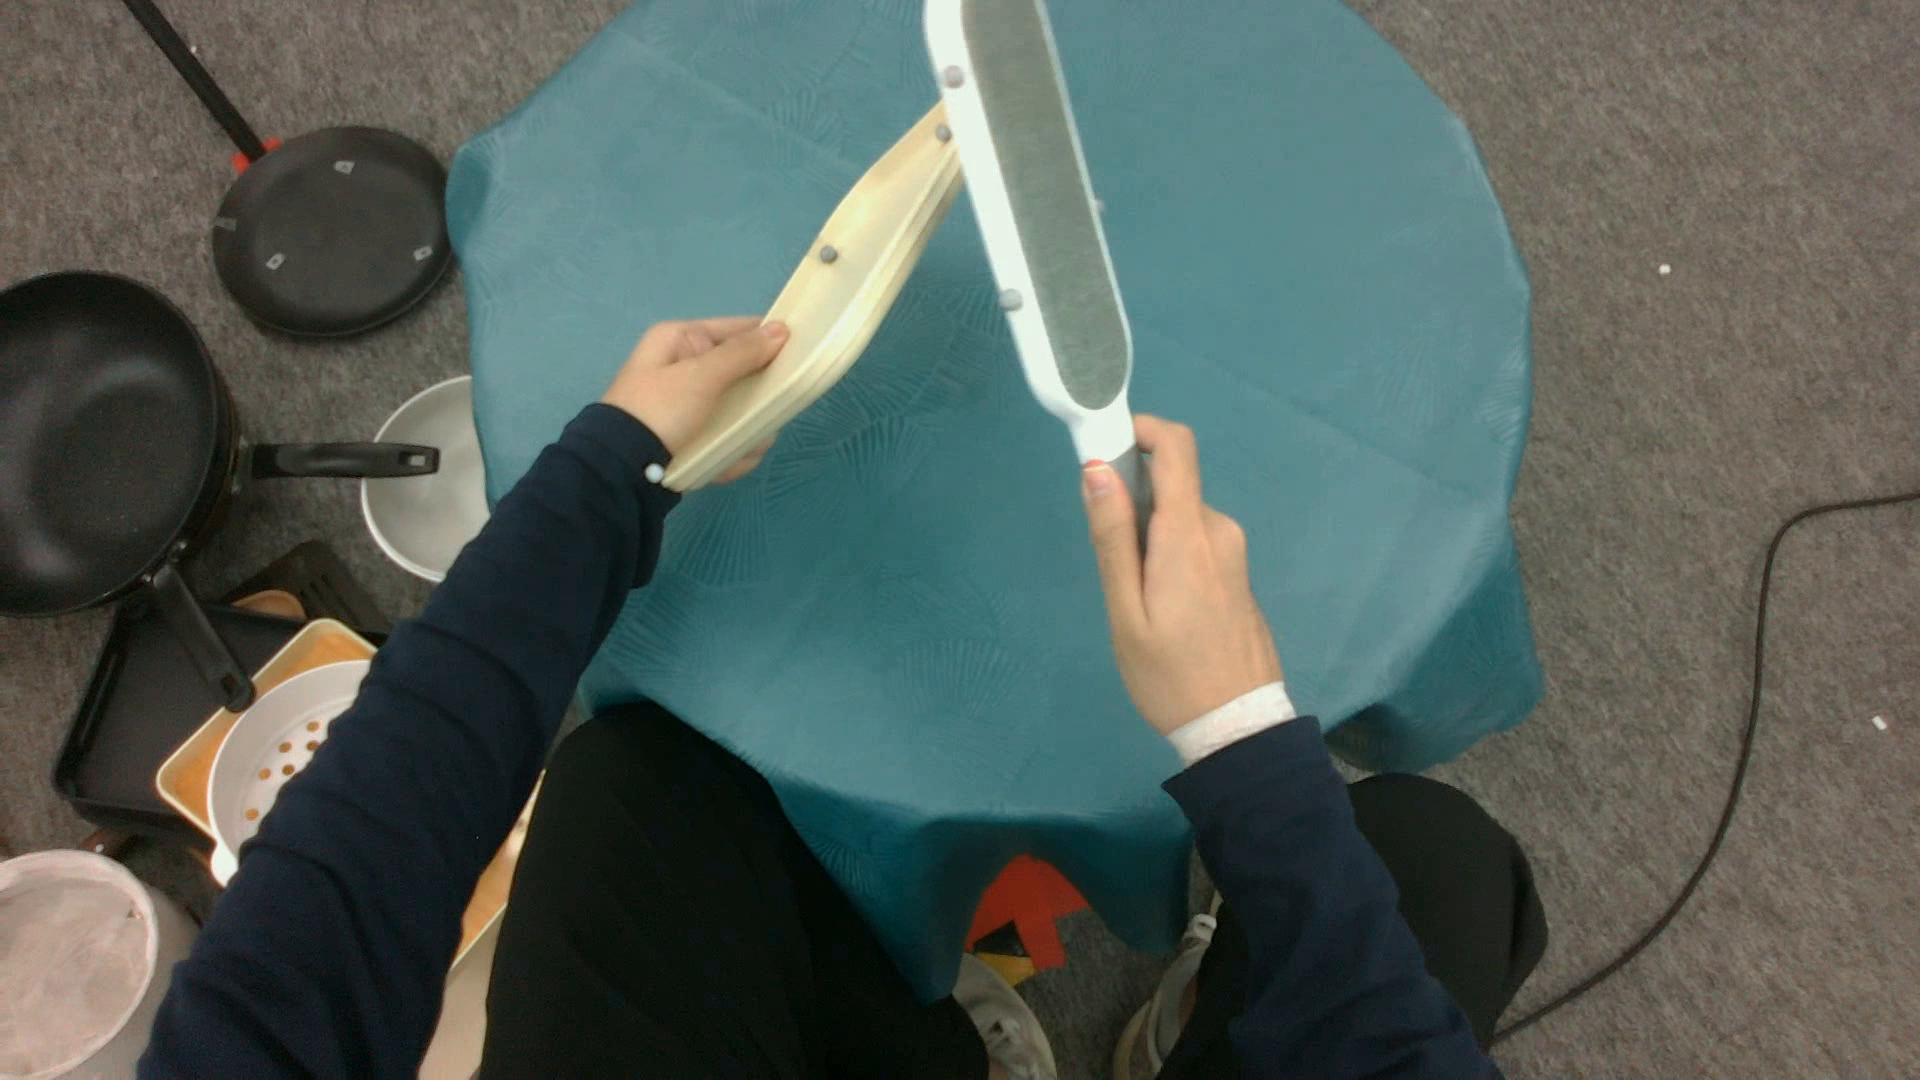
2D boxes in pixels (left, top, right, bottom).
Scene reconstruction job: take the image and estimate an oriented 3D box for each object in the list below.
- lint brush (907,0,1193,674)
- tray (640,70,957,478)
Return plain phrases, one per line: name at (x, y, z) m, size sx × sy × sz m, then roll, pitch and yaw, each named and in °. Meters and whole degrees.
lint brush at (0.042, -0.081, 0.551) m, size 0.060 × 0.021 × 0.308 m, roll -40°, pitch 117°, yaw -47°
tray at (-0.059, -0.133, 0.637) m, size 0.017 × 0.170 × 0.241 m, roll 39°, pitch 53°, yaw -20°
